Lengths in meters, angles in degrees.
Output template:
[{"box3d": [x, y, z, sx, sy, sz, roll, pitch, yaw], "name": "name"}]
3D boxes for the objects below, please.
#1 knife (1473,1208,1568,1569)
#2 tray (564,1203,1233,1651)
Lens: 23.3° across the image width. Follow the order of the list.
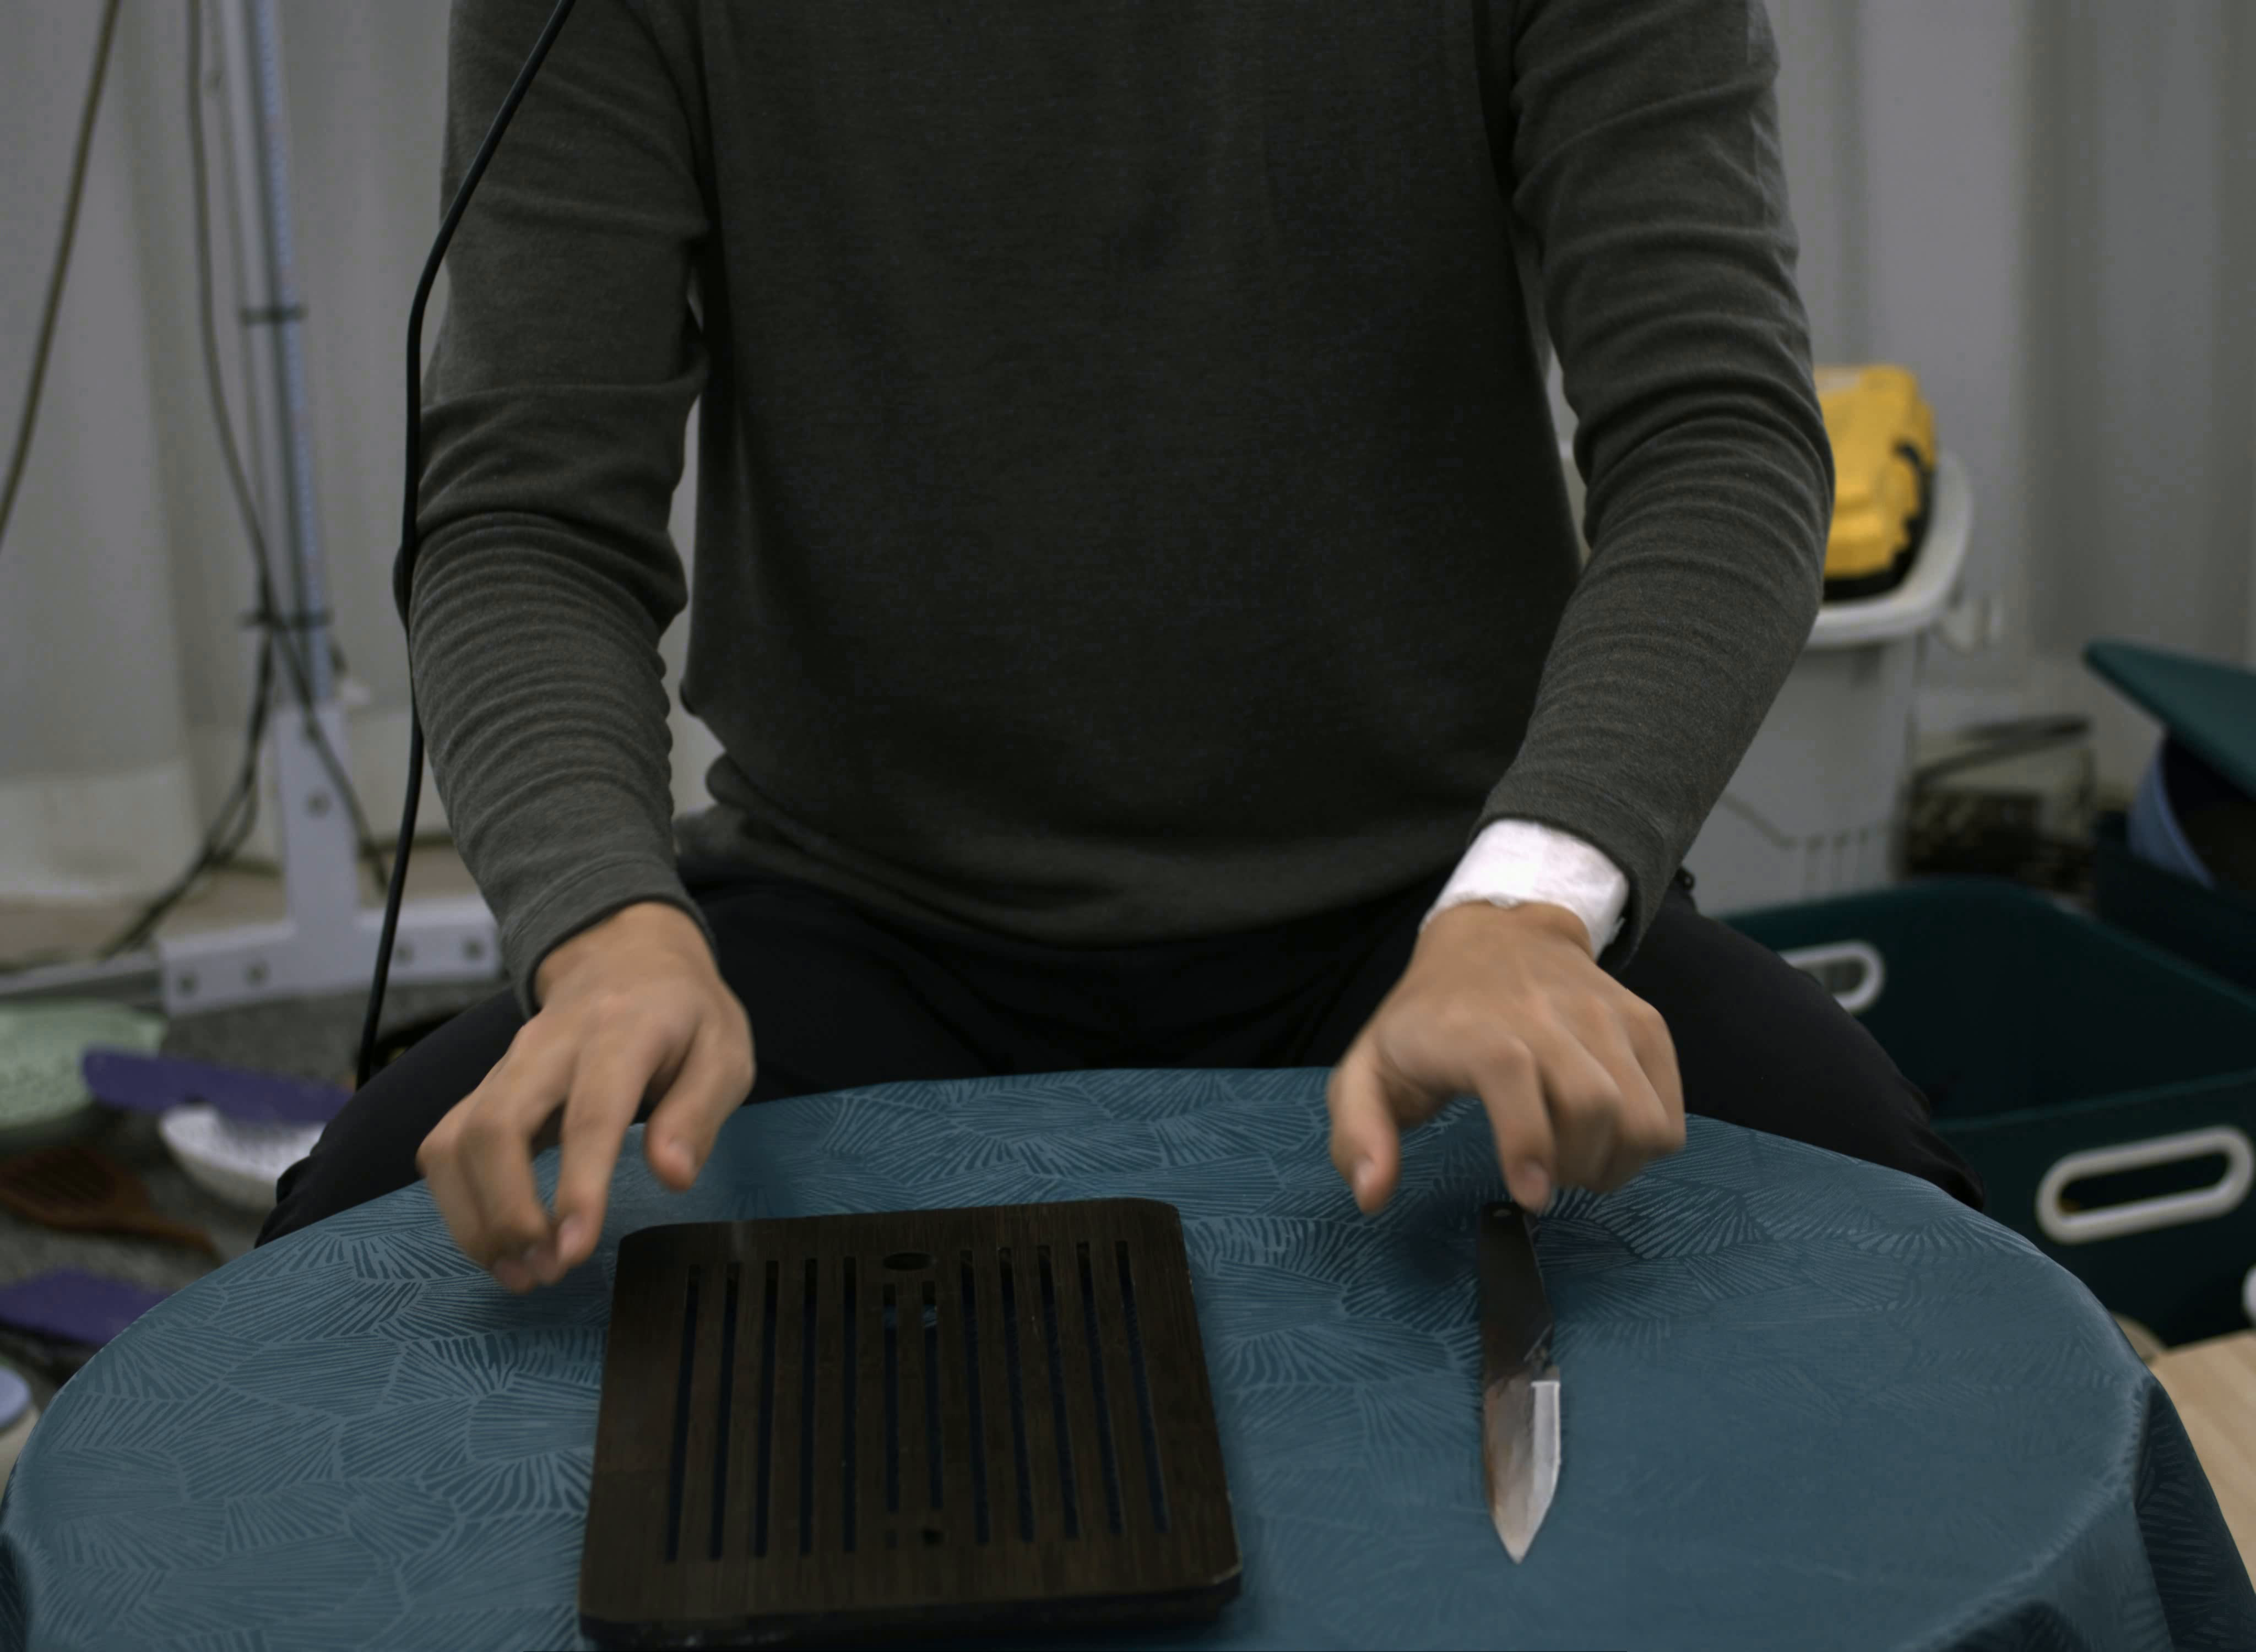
[{"box3d": [0.108, 0.156, 1.522, 0.024, 0.016, 0.240, -3, 17, 3], "name": "knife"}, {"box3d": [-0.064, 0.163, 1.511, 0.169, 0.018, 0.308, -3, 15, -2], "name": "tray"}]
